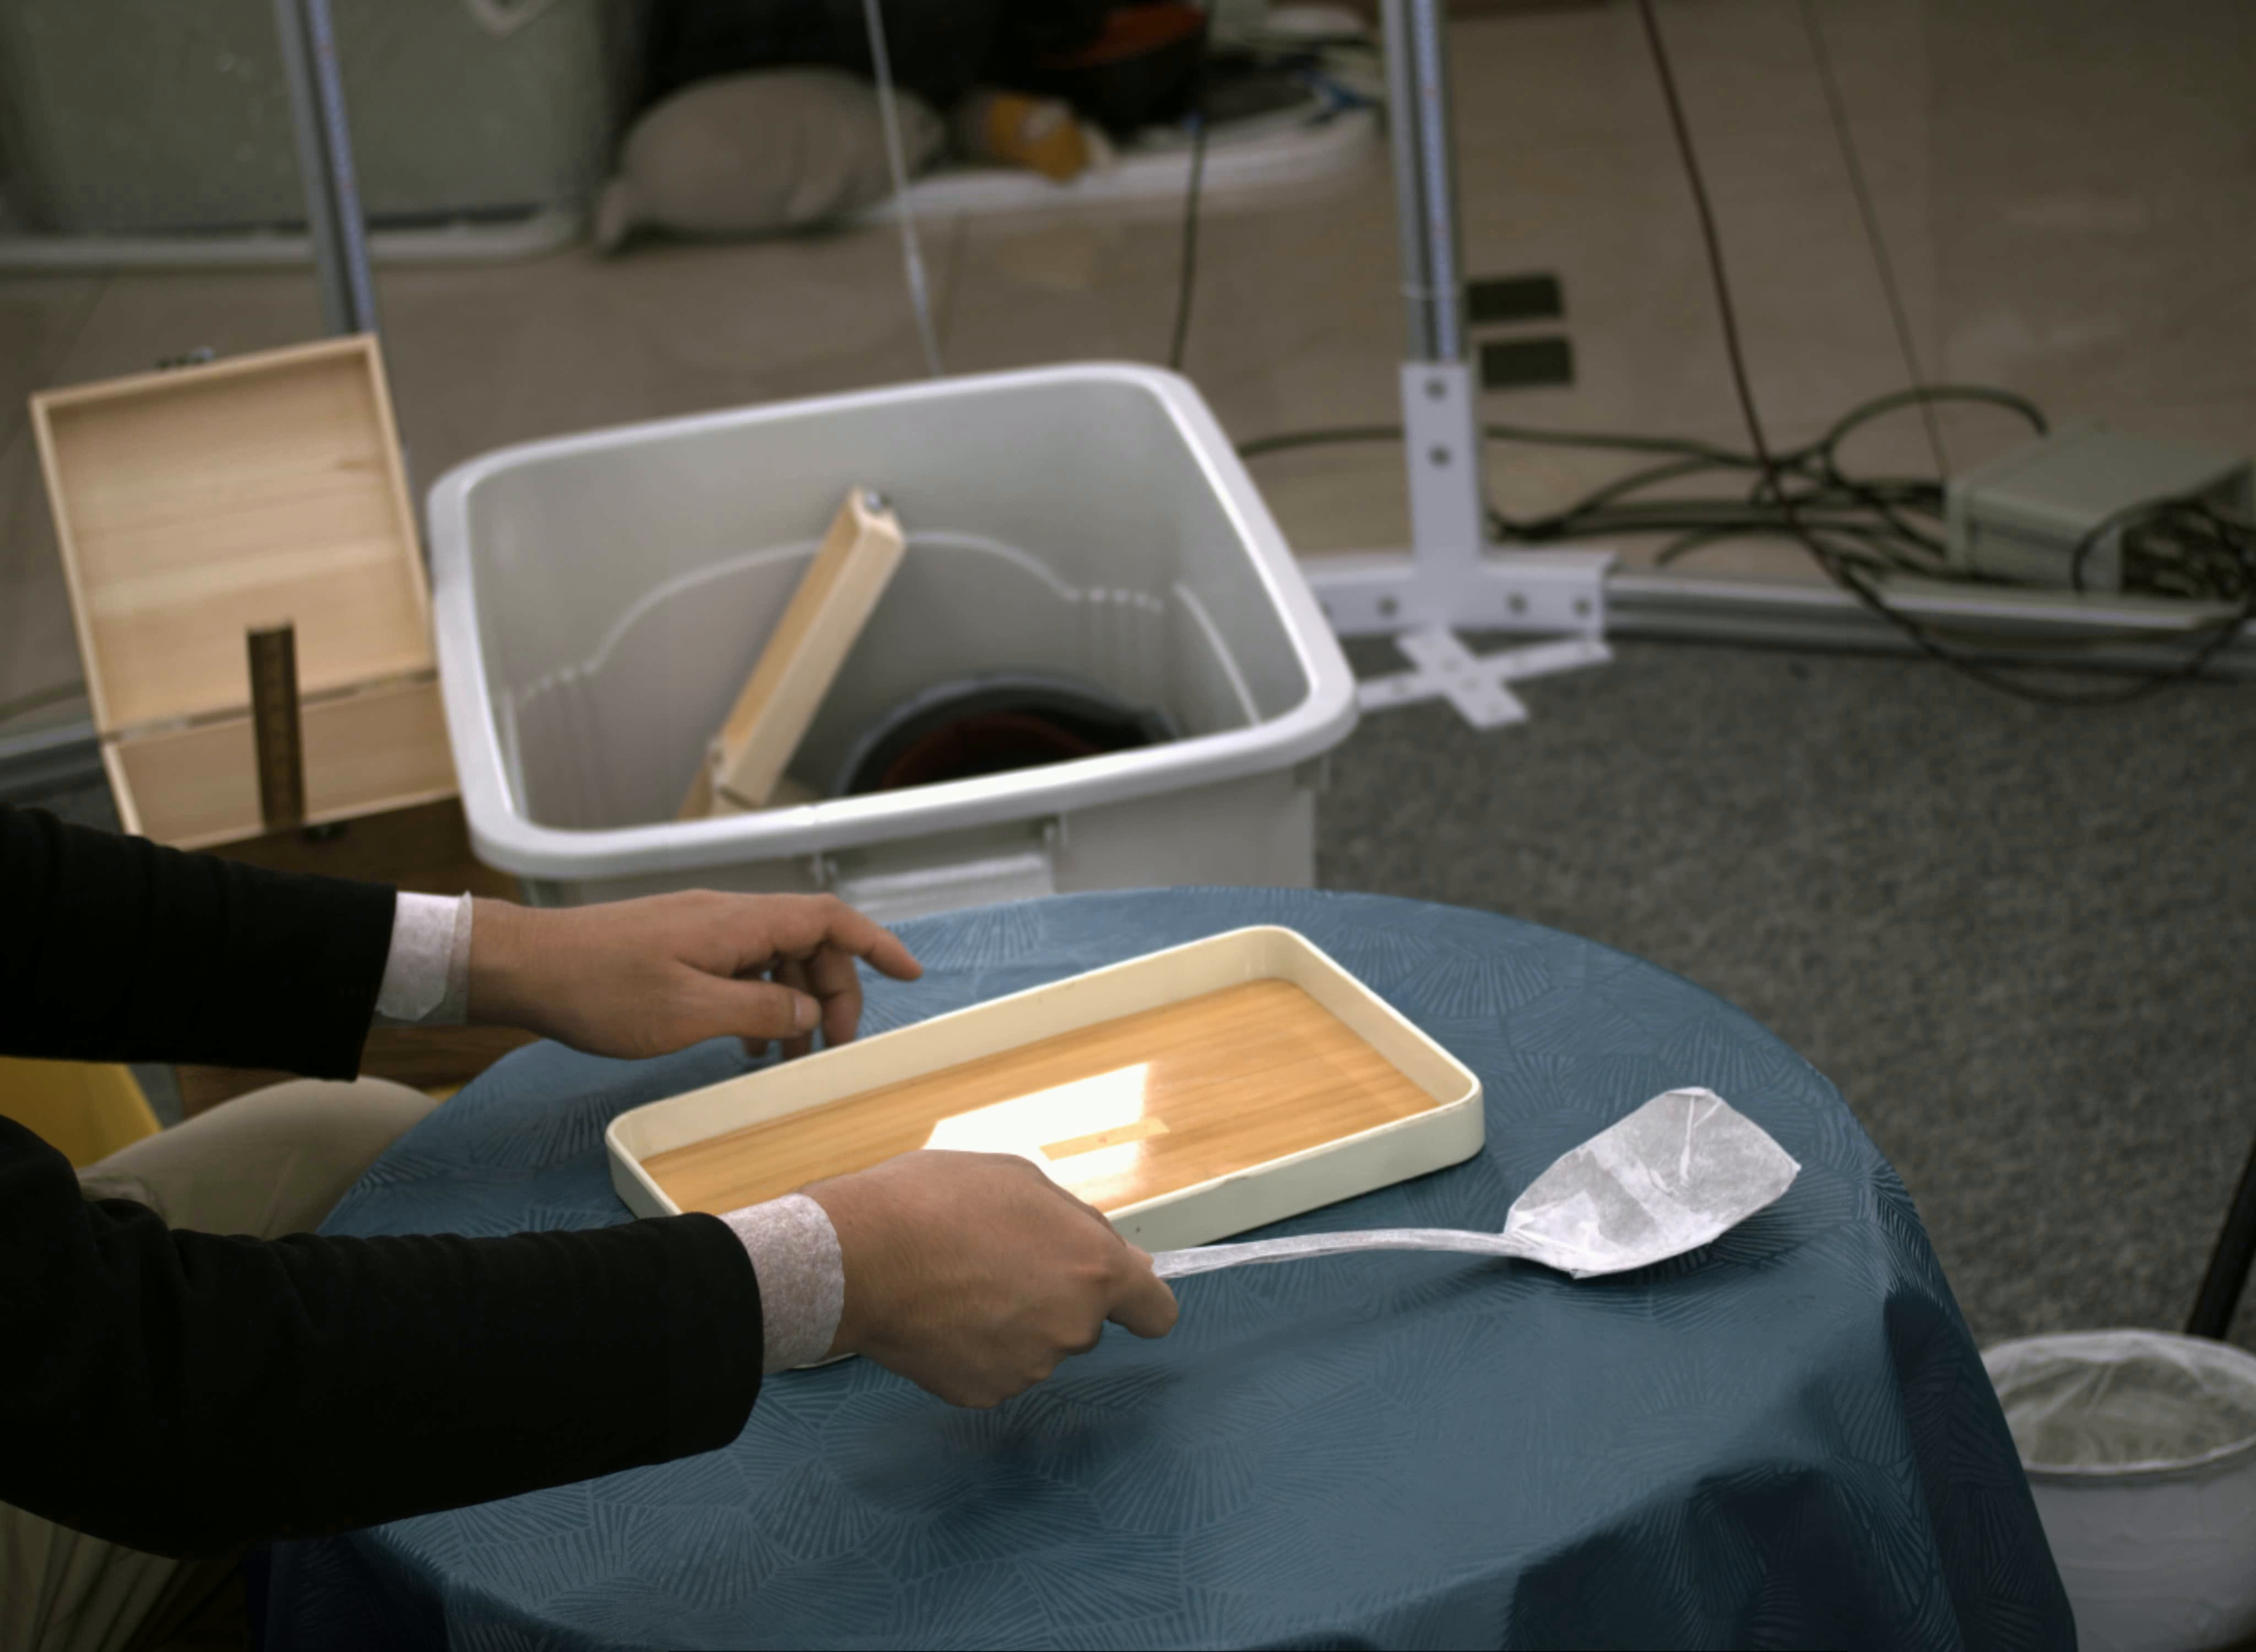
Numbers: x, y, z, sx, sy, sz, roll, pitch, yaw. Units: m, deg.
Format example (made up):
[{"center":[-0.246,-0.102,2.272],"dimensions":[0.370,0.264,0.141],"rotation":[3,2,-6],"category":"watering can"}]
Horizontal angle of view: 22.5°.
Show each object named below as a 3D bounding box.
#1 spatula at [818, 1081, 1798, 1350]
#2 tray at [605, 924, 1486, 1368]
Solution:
[{"center":[0.065,0.146,2.035],"dimensions":[0.364,0.045,0.097],"rotation":[-6,23,-20],"category":"spatula"},{"center":[-0.033,0.118,2.168],"dimensions":[0.299,0.028,0.189],"rotation":[-16,27,-19],"category":"tray"}]
